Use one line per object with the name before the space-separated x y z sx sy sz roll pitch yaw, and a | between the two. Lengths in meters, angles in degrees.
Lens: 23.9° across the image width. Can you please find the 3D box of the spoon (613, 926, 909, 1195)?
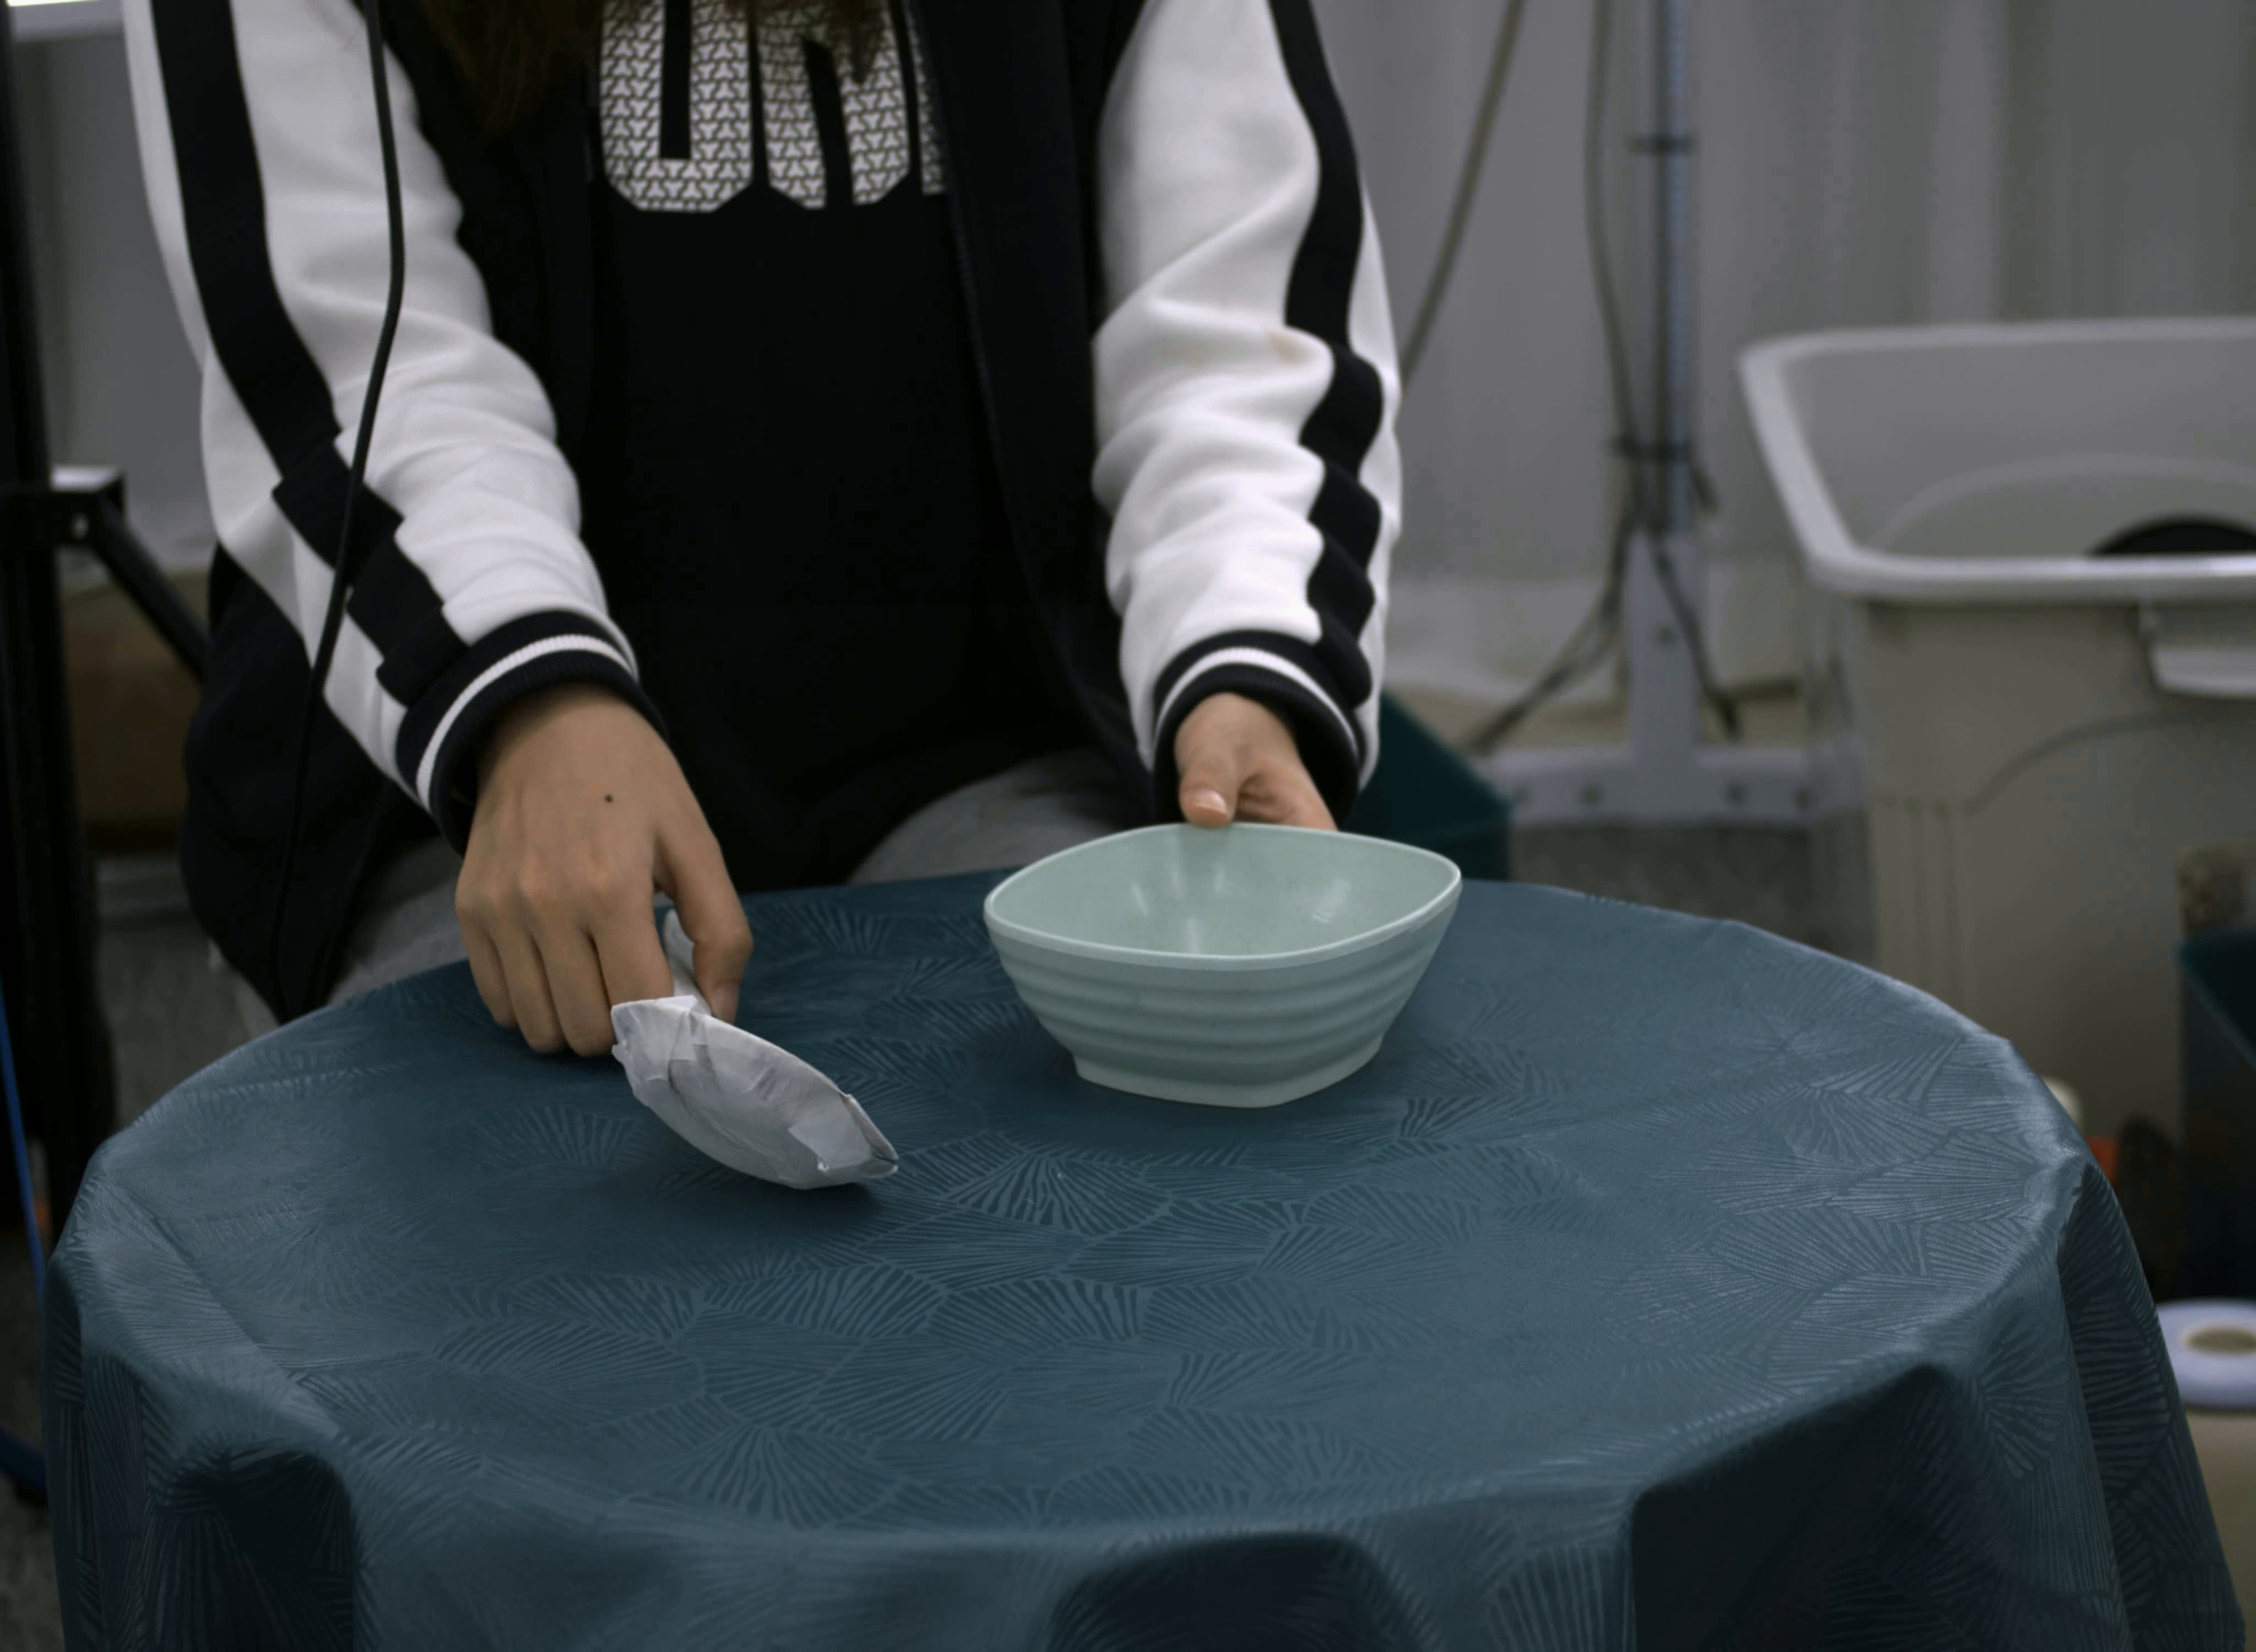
spoon | -0.112 0.055 1.652 0.100 0.059 0.279 39 9 -11

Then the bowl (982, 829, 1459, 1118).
bowl | 0.030 0.049 1.665 0.150 0.058 0.152 -2 16 -1
